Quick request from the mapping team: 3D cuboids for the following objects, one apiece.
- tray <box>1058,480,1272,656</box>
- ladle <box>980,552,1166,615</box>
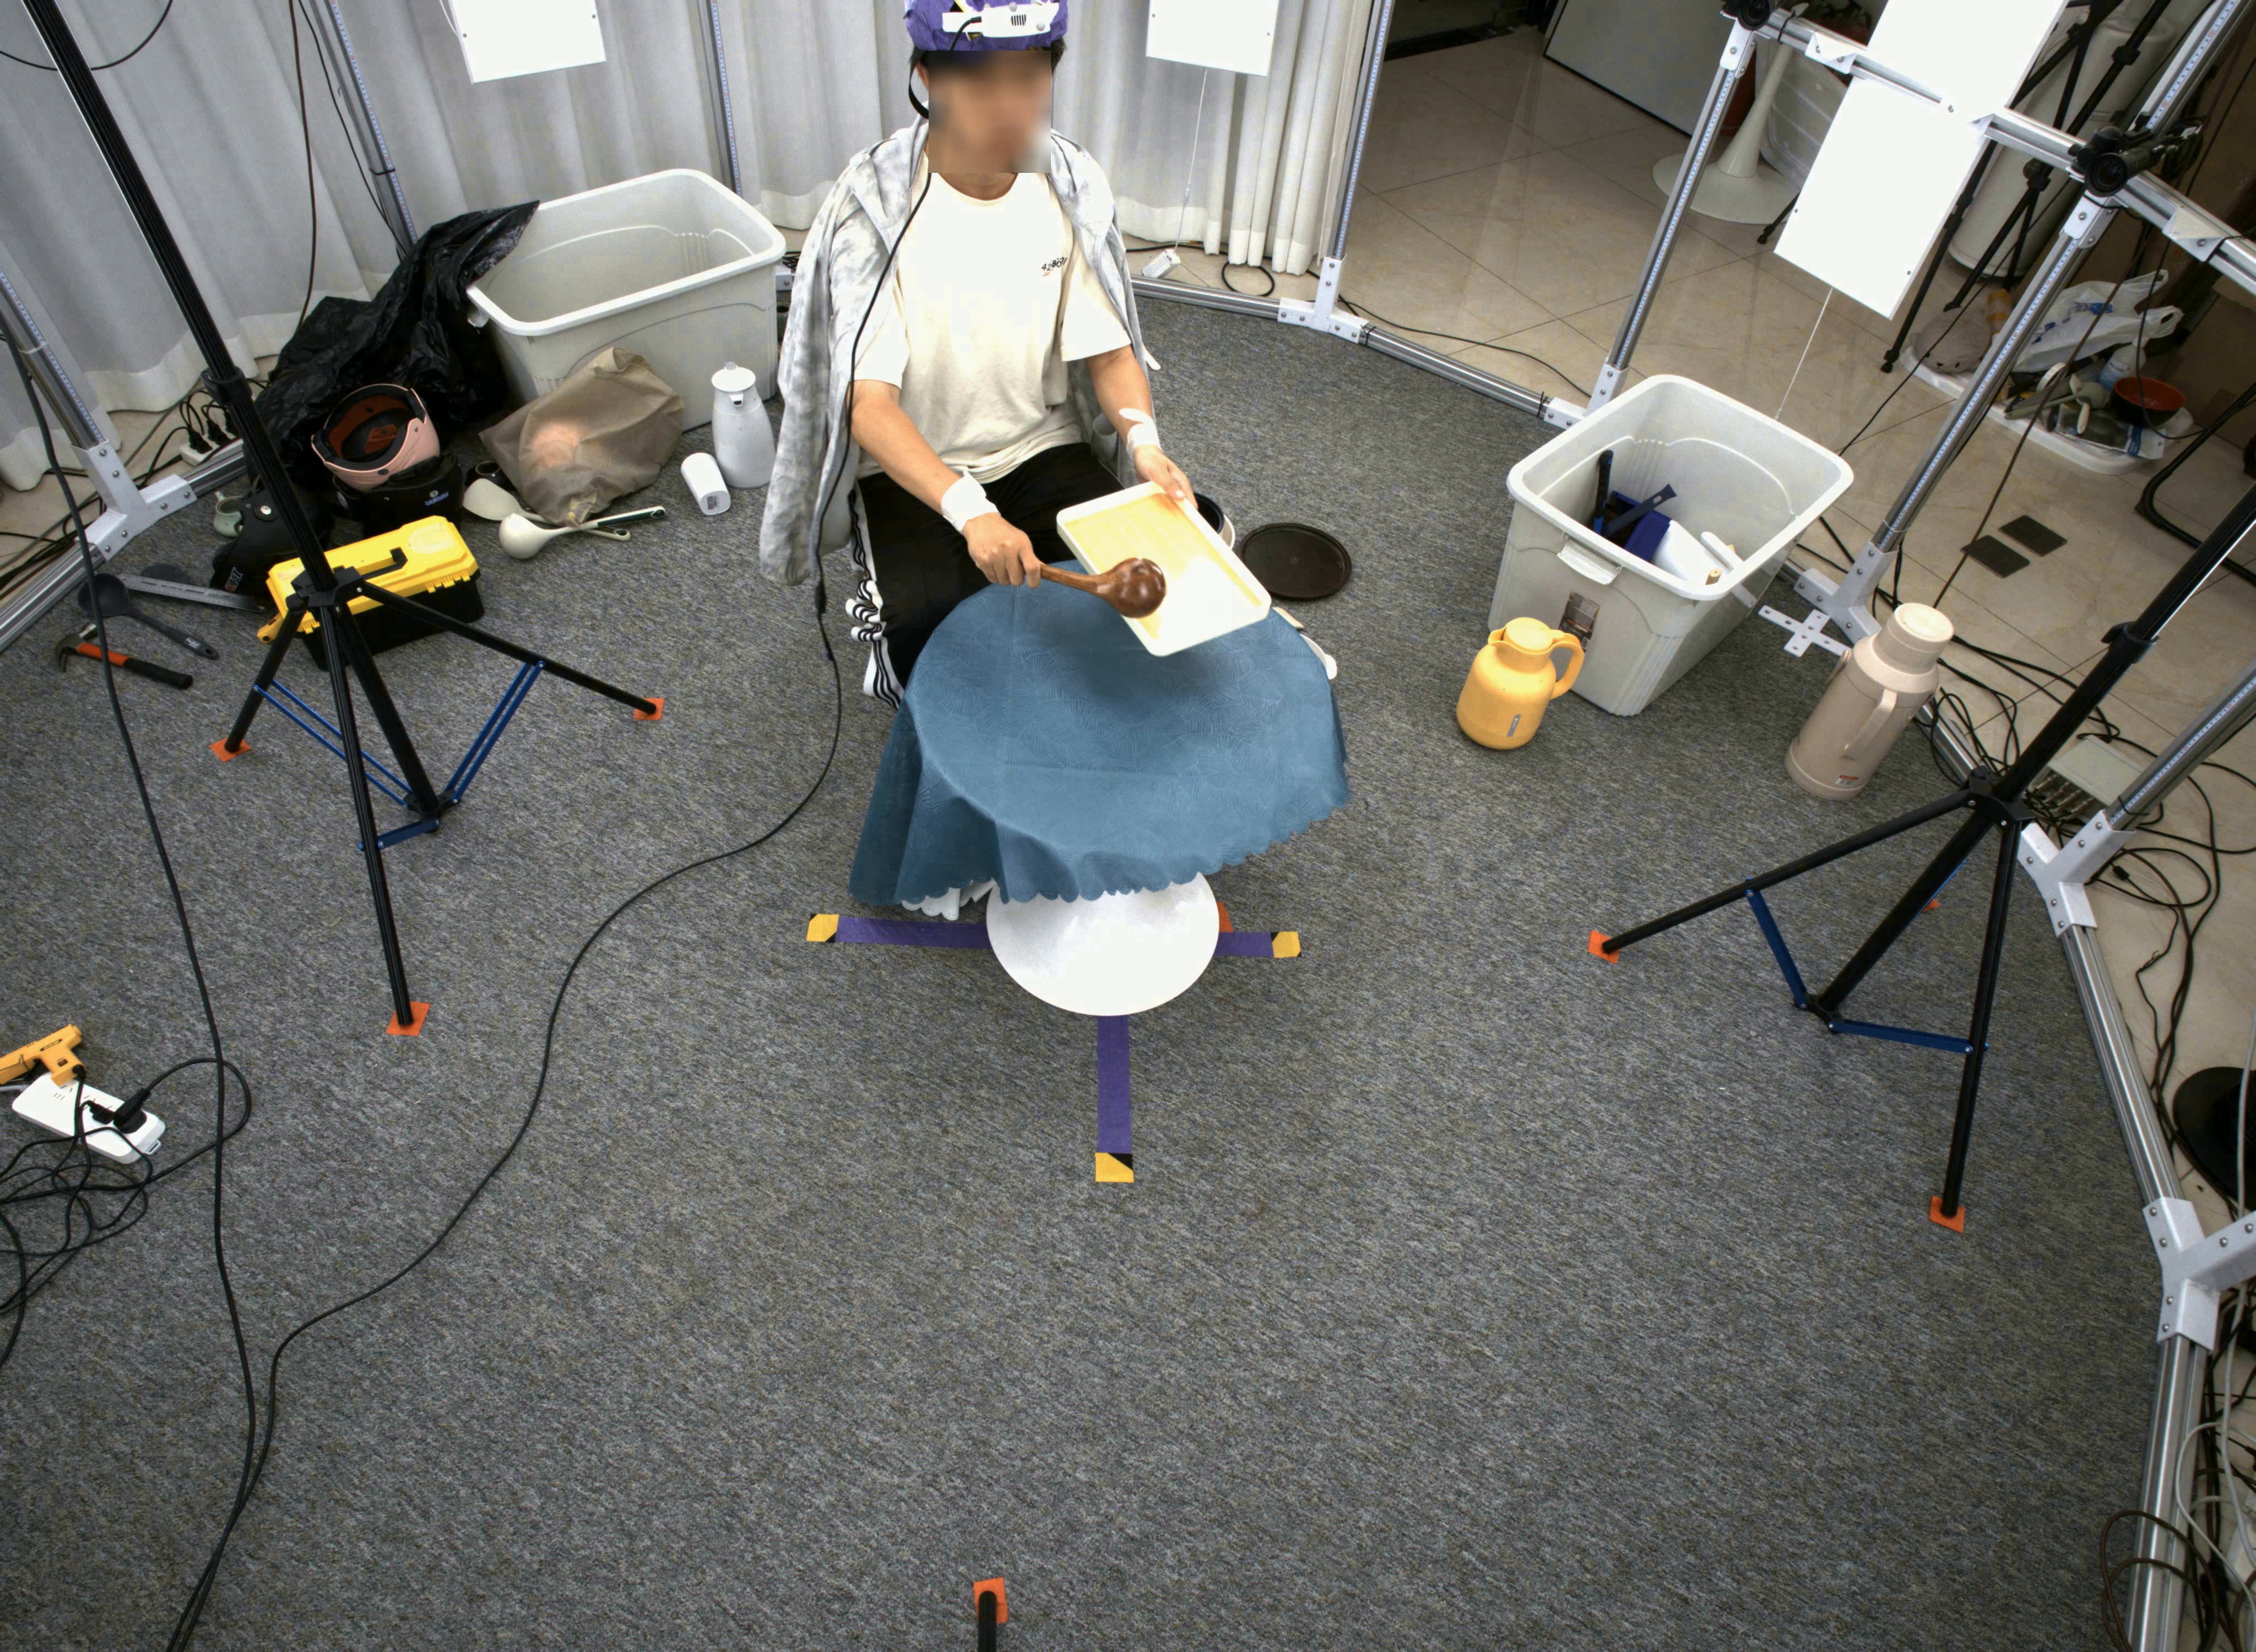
[{"bbox_3d":[0.049,-0.368,1.805,0.192,0.027,0.306,-22,56,-18],"label":"tray"},{"bbox_3d":[-0.074,-0.343,1.733,0.277,0.081,0.077,18,20,34],"label":"ladle"}]
